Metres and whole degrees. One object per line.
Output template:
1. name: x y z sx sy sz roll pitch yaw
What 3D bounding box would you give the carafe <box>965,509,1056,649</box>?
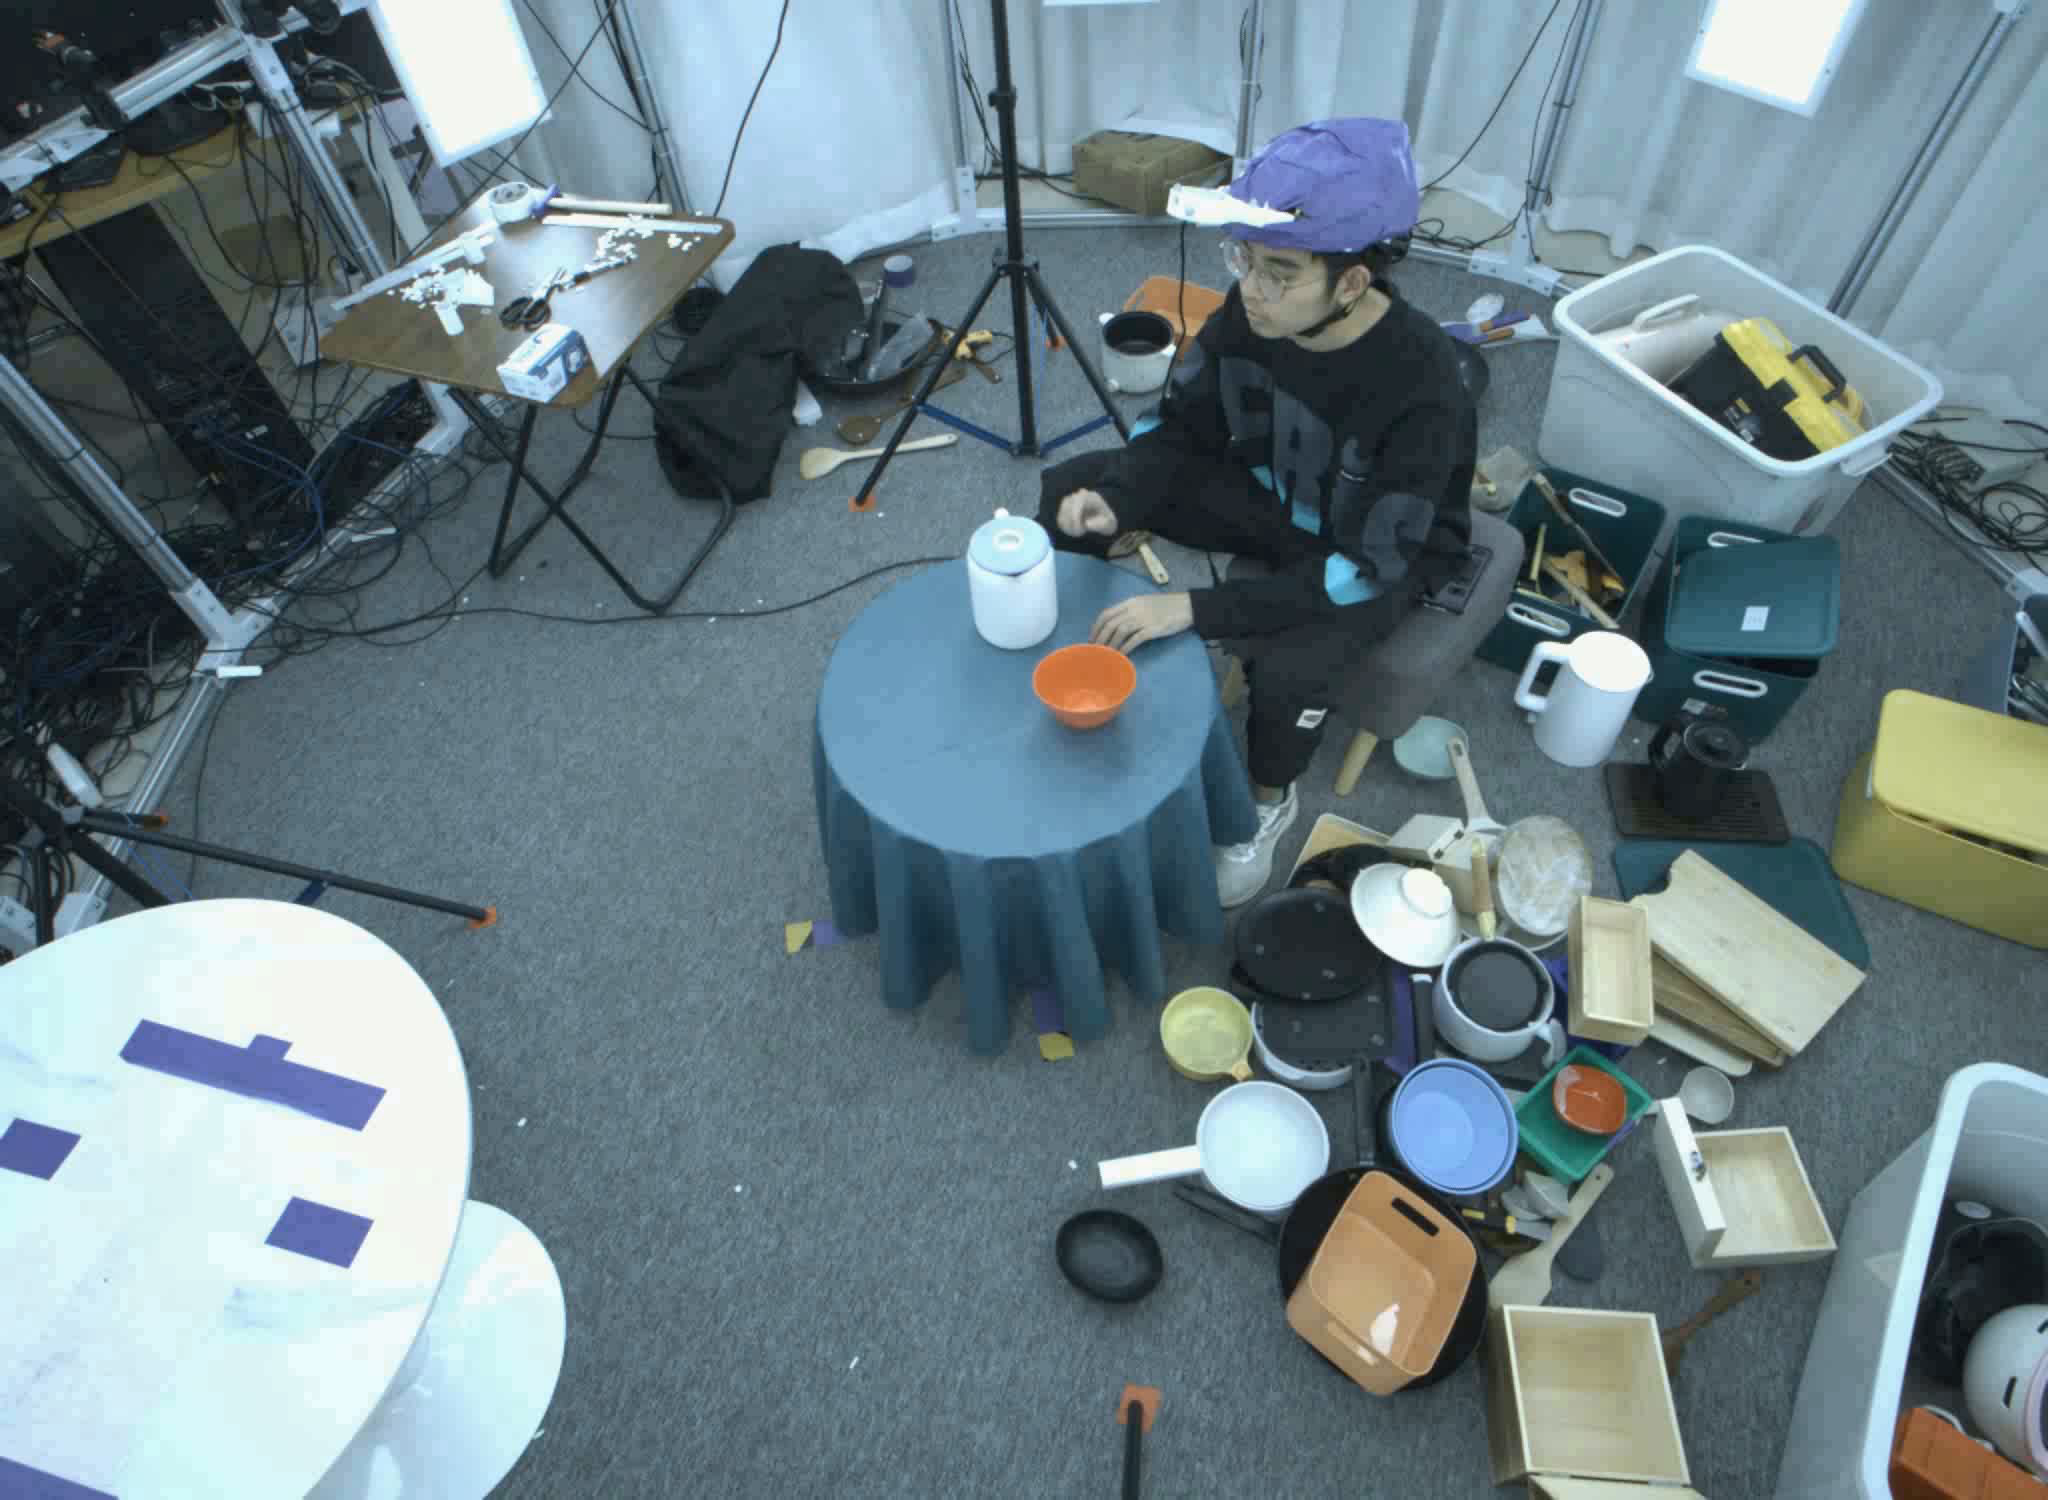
1. carafe: -0.024 -0.272 1.873 0.133 0.184 0.188 -10 52 -5

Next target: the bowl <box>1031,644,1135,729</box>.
1. bowl: 0.086 -0.078 1.773 0.148 0.106 0.146 -1 55 2
